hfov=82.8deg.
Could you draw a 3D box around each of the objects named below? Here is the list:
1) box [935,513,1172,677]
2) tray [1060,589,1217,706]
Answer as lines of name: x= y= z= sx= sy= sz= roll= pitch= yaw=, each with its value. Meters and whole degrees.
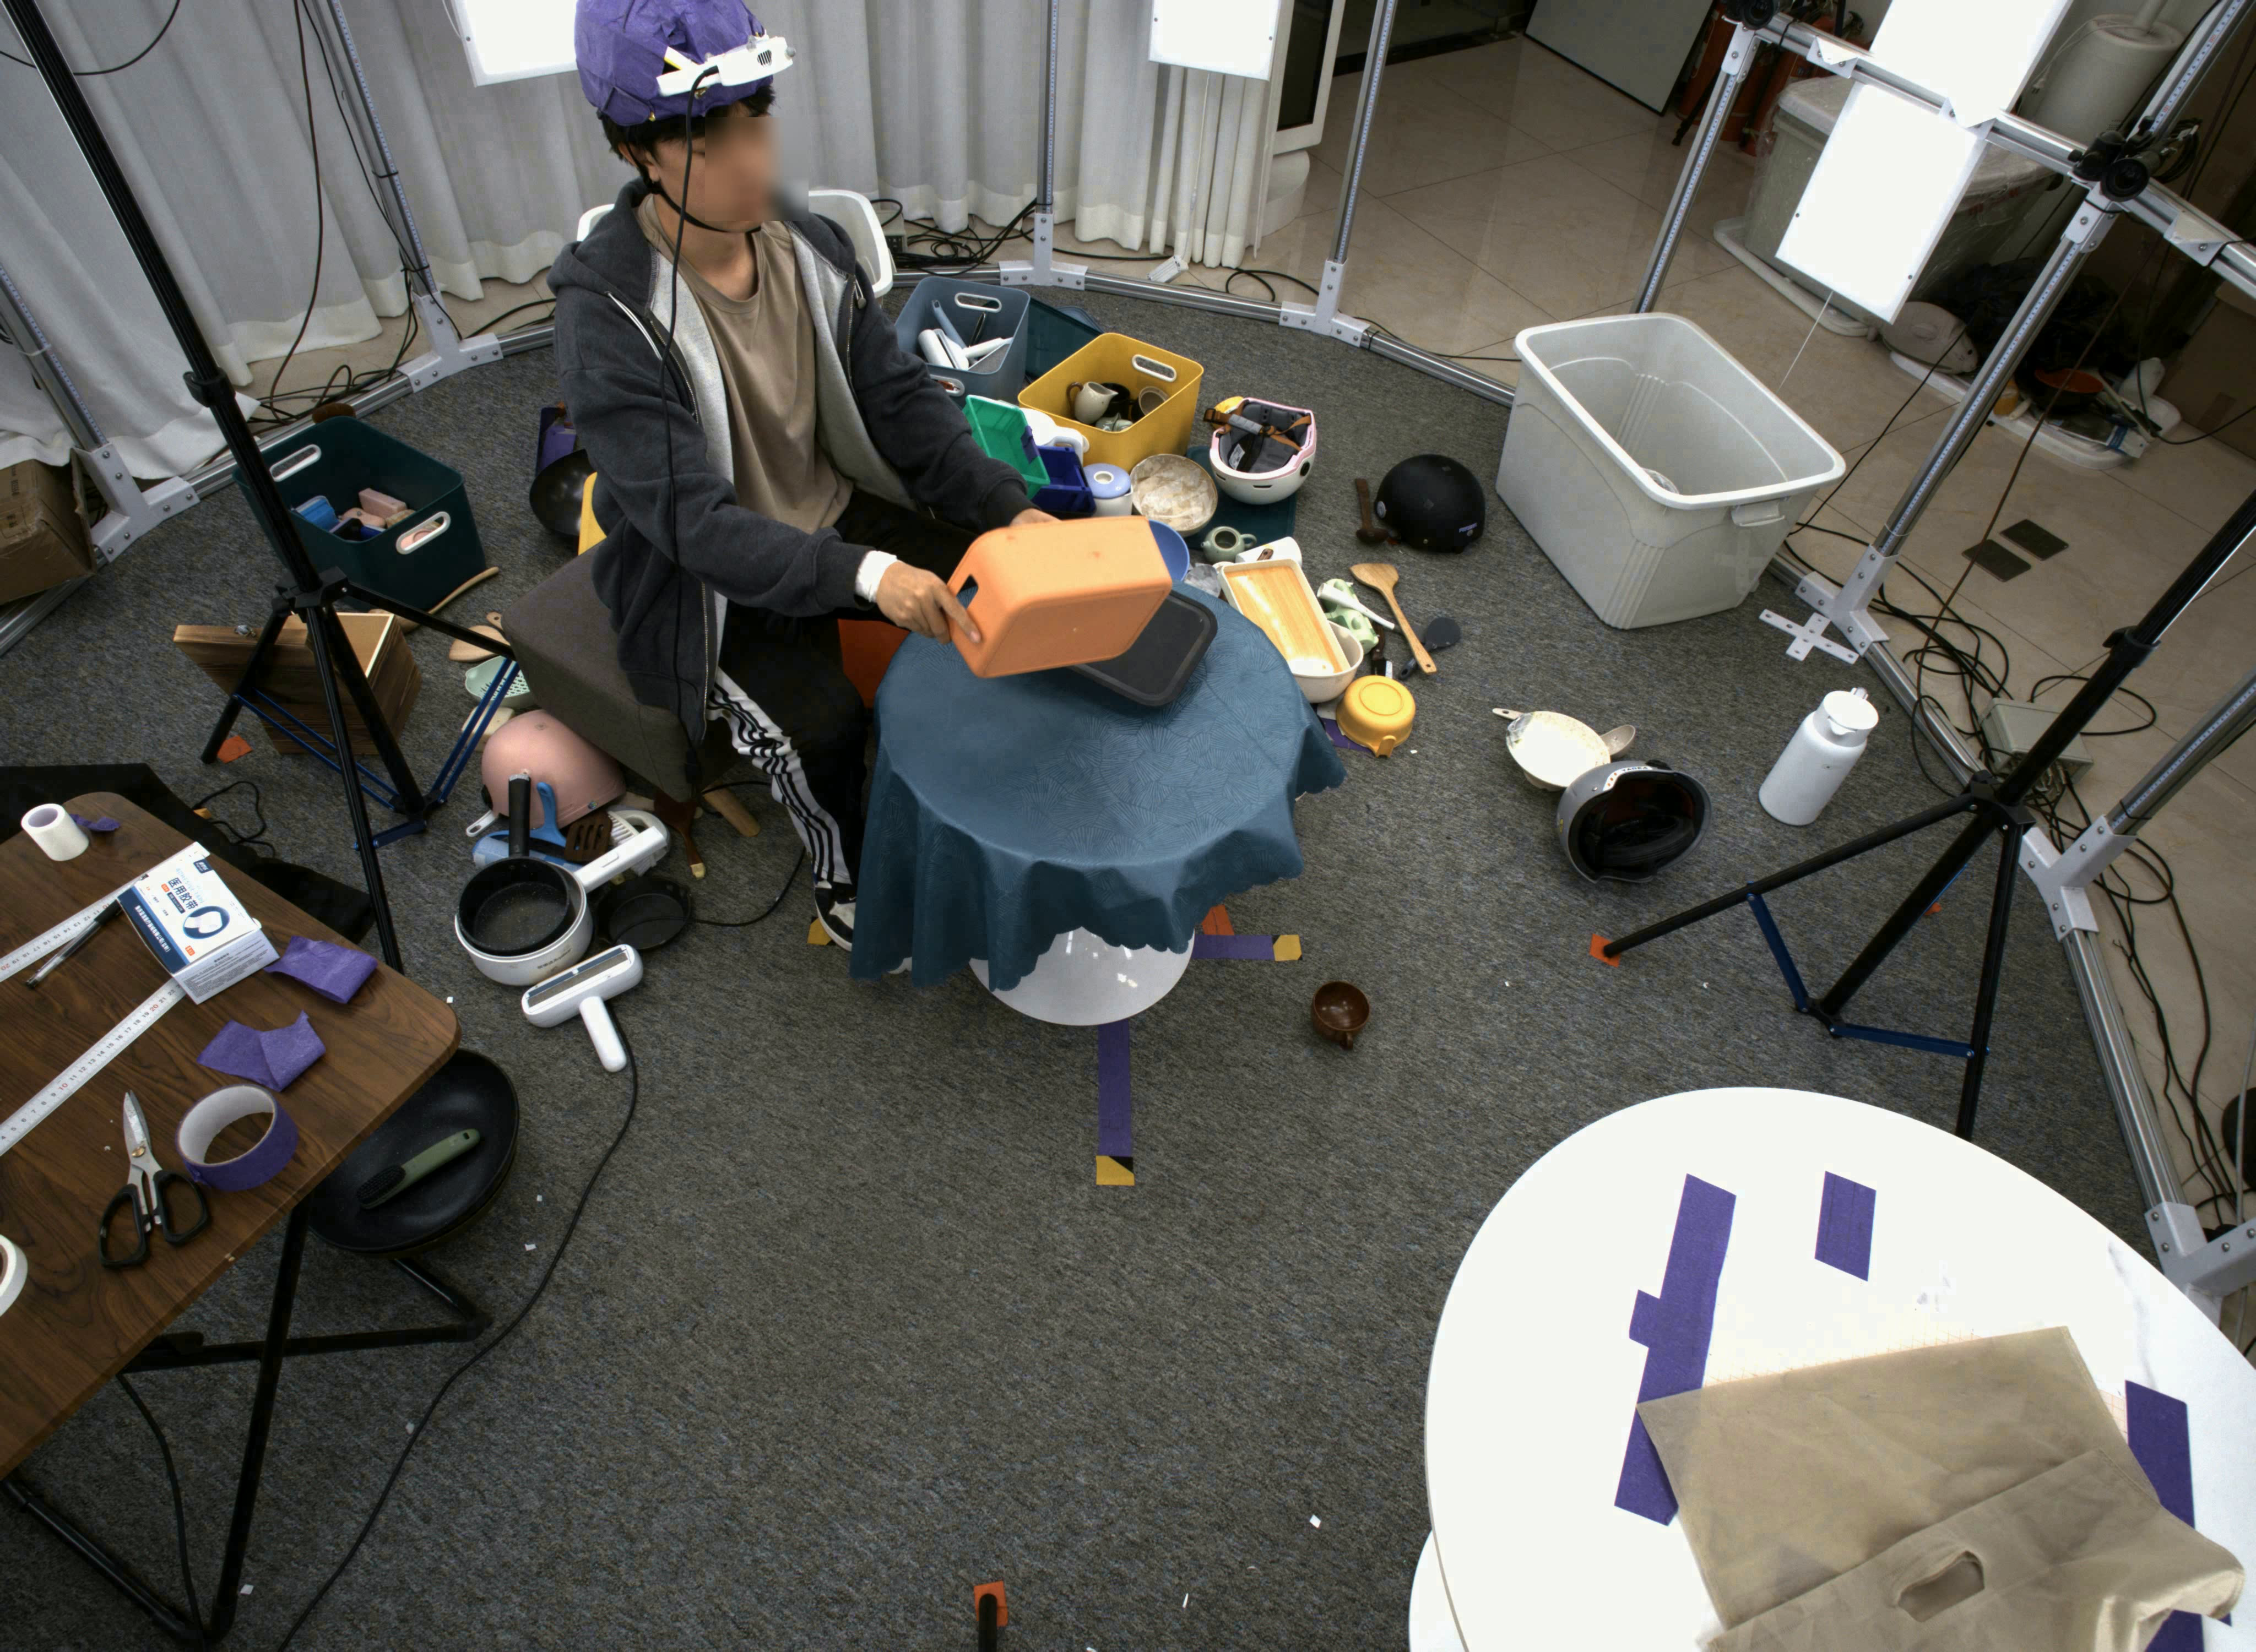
box: x=-0.087 y=-0.285 z=1.612 sx=0.273 sy=0.196 sz=0.104 roll=-13 pitch=66 yaw=-36
tray: x=-0.046 y=-0.299 z=1.847 sx=0.327 sy=0.009 sz=0.214 roll=26 pitch=58 yaw=9
